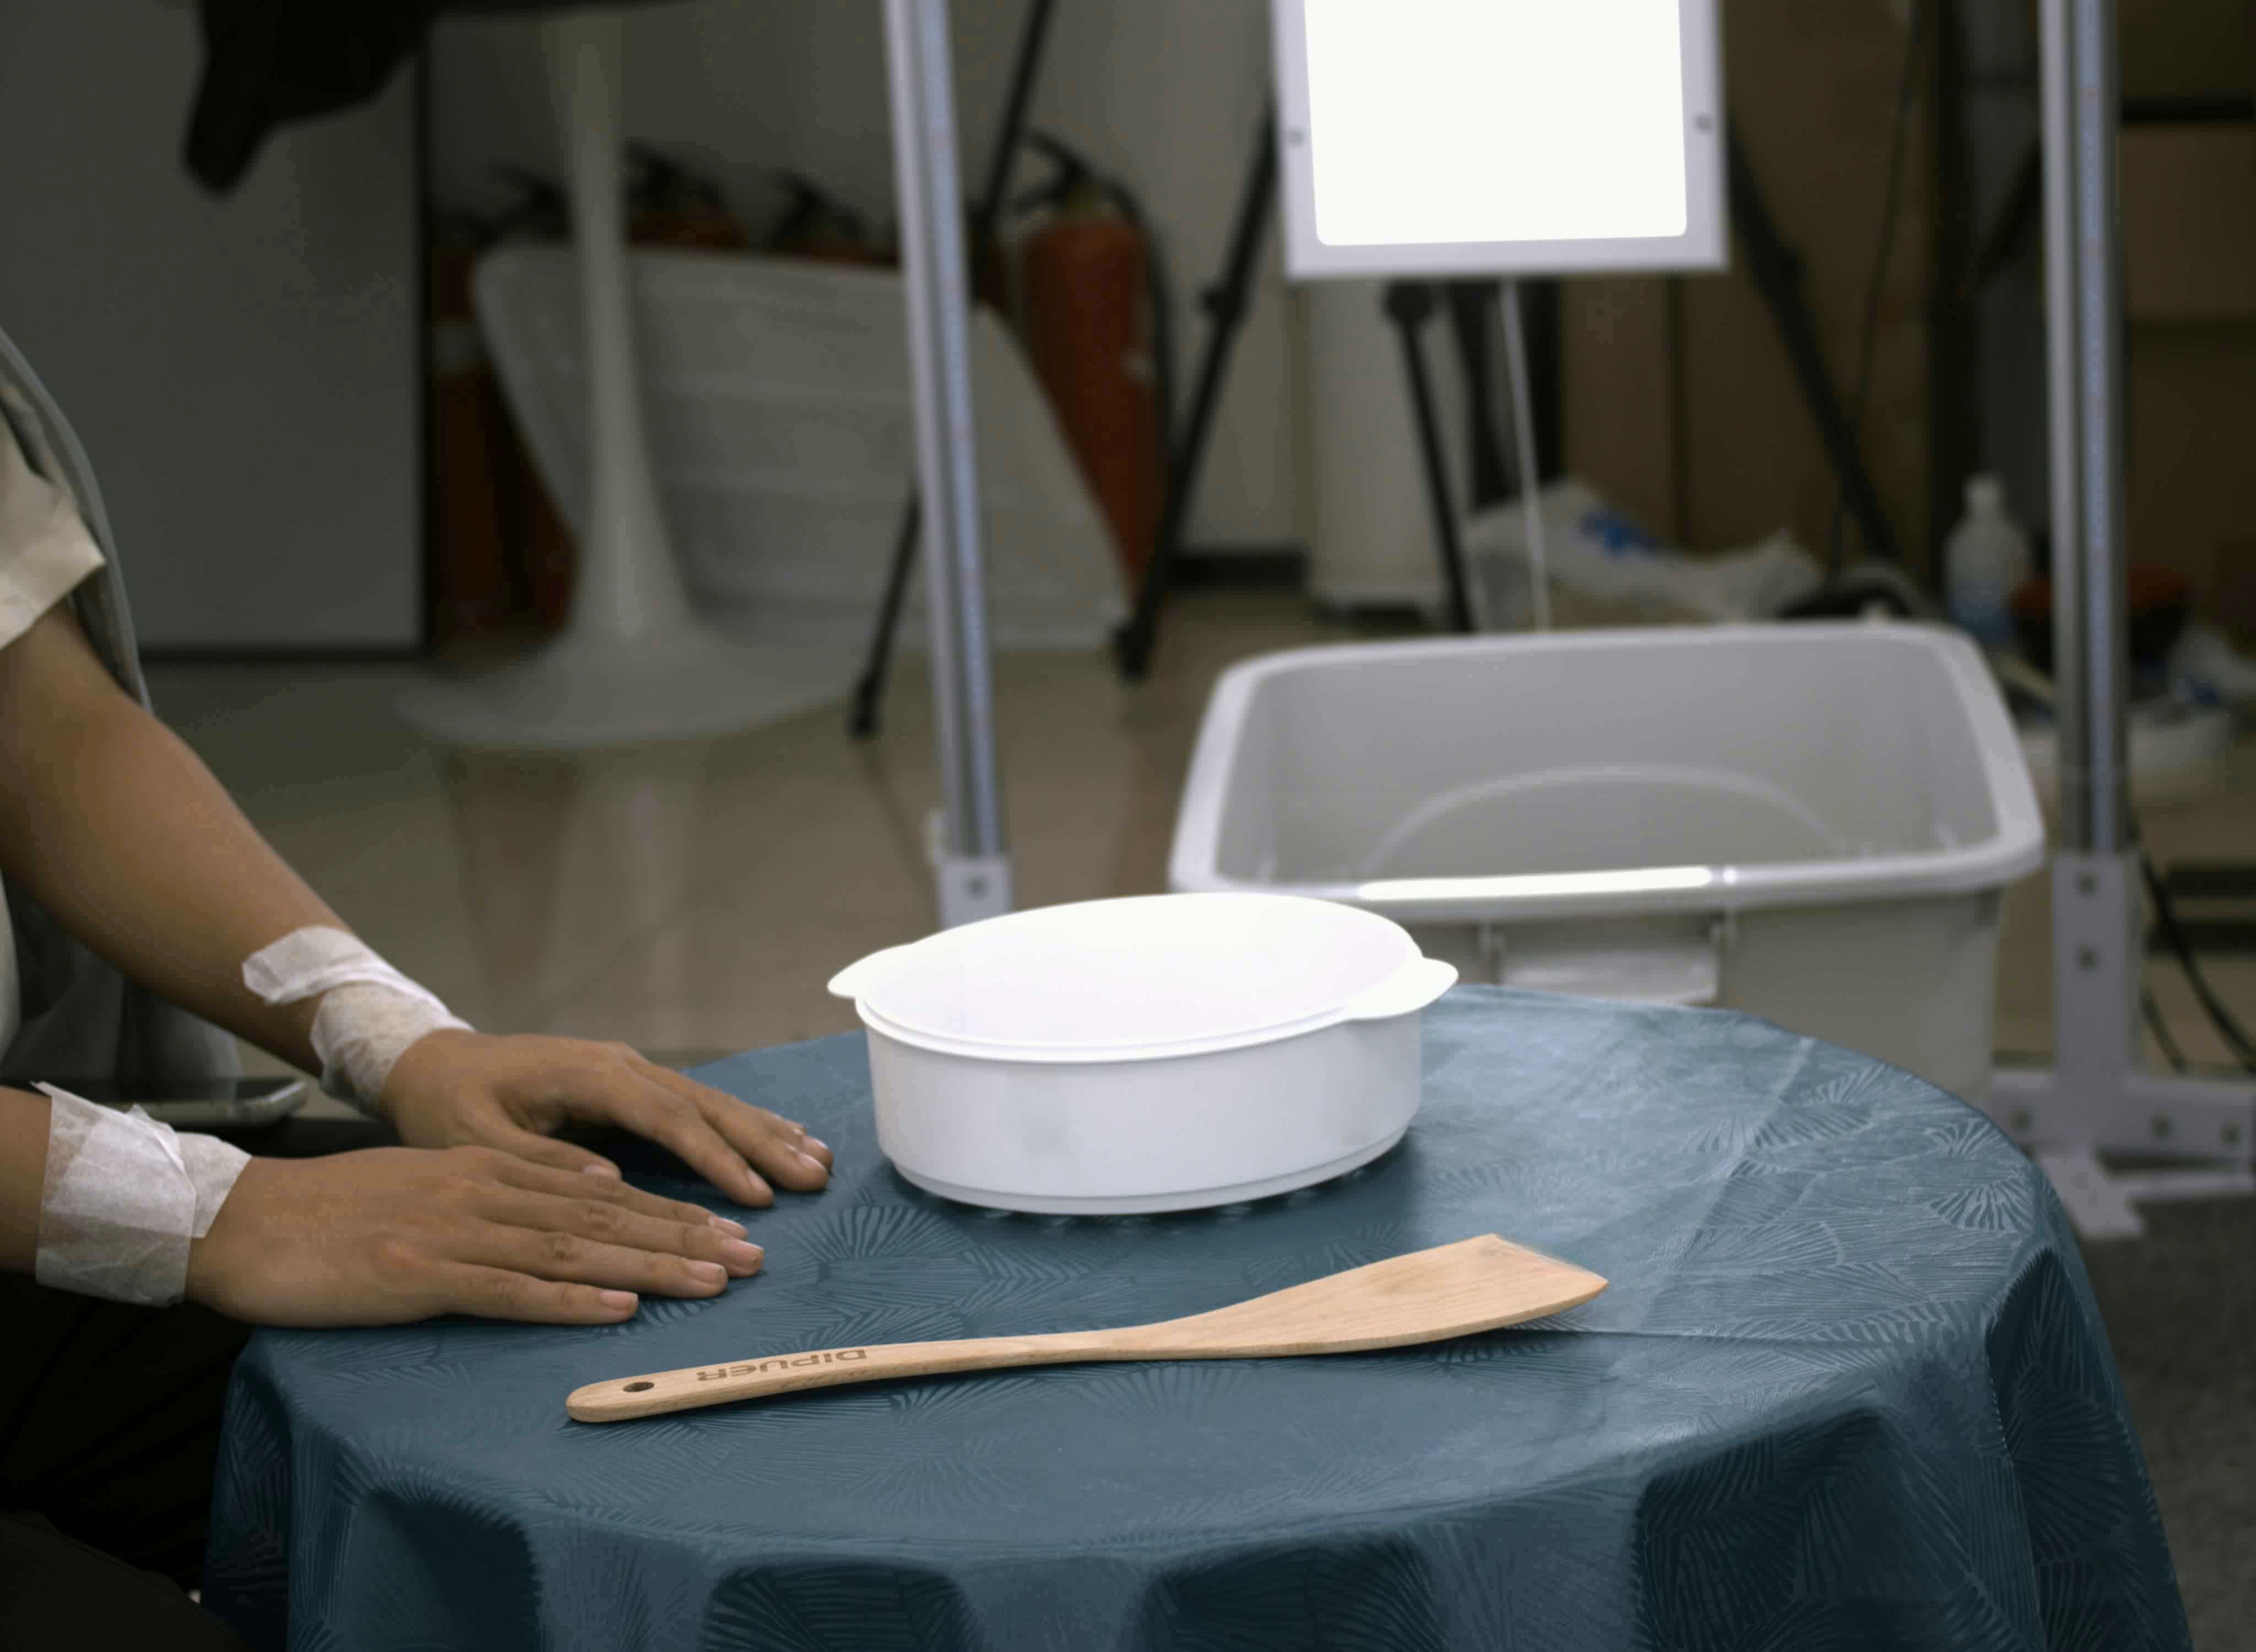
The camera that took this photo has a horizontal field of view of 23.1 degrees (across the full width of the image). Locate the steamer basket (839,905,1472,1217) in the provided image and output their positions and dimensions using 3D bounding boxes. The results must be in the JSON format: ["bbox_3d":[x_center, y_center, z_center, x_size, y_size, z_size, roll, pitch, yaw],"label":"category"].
[{"bbox_3d":[0.011,0.082,1.937,0.234,0.069,0.198,1,13,26],"label":"steamer basket"}]

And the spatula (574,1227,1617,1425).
[{"bbox_3d":[-0.012,0.159,1.731,0.325,0.016,0.080,-7,13,-4],"label":"spatula"}]
